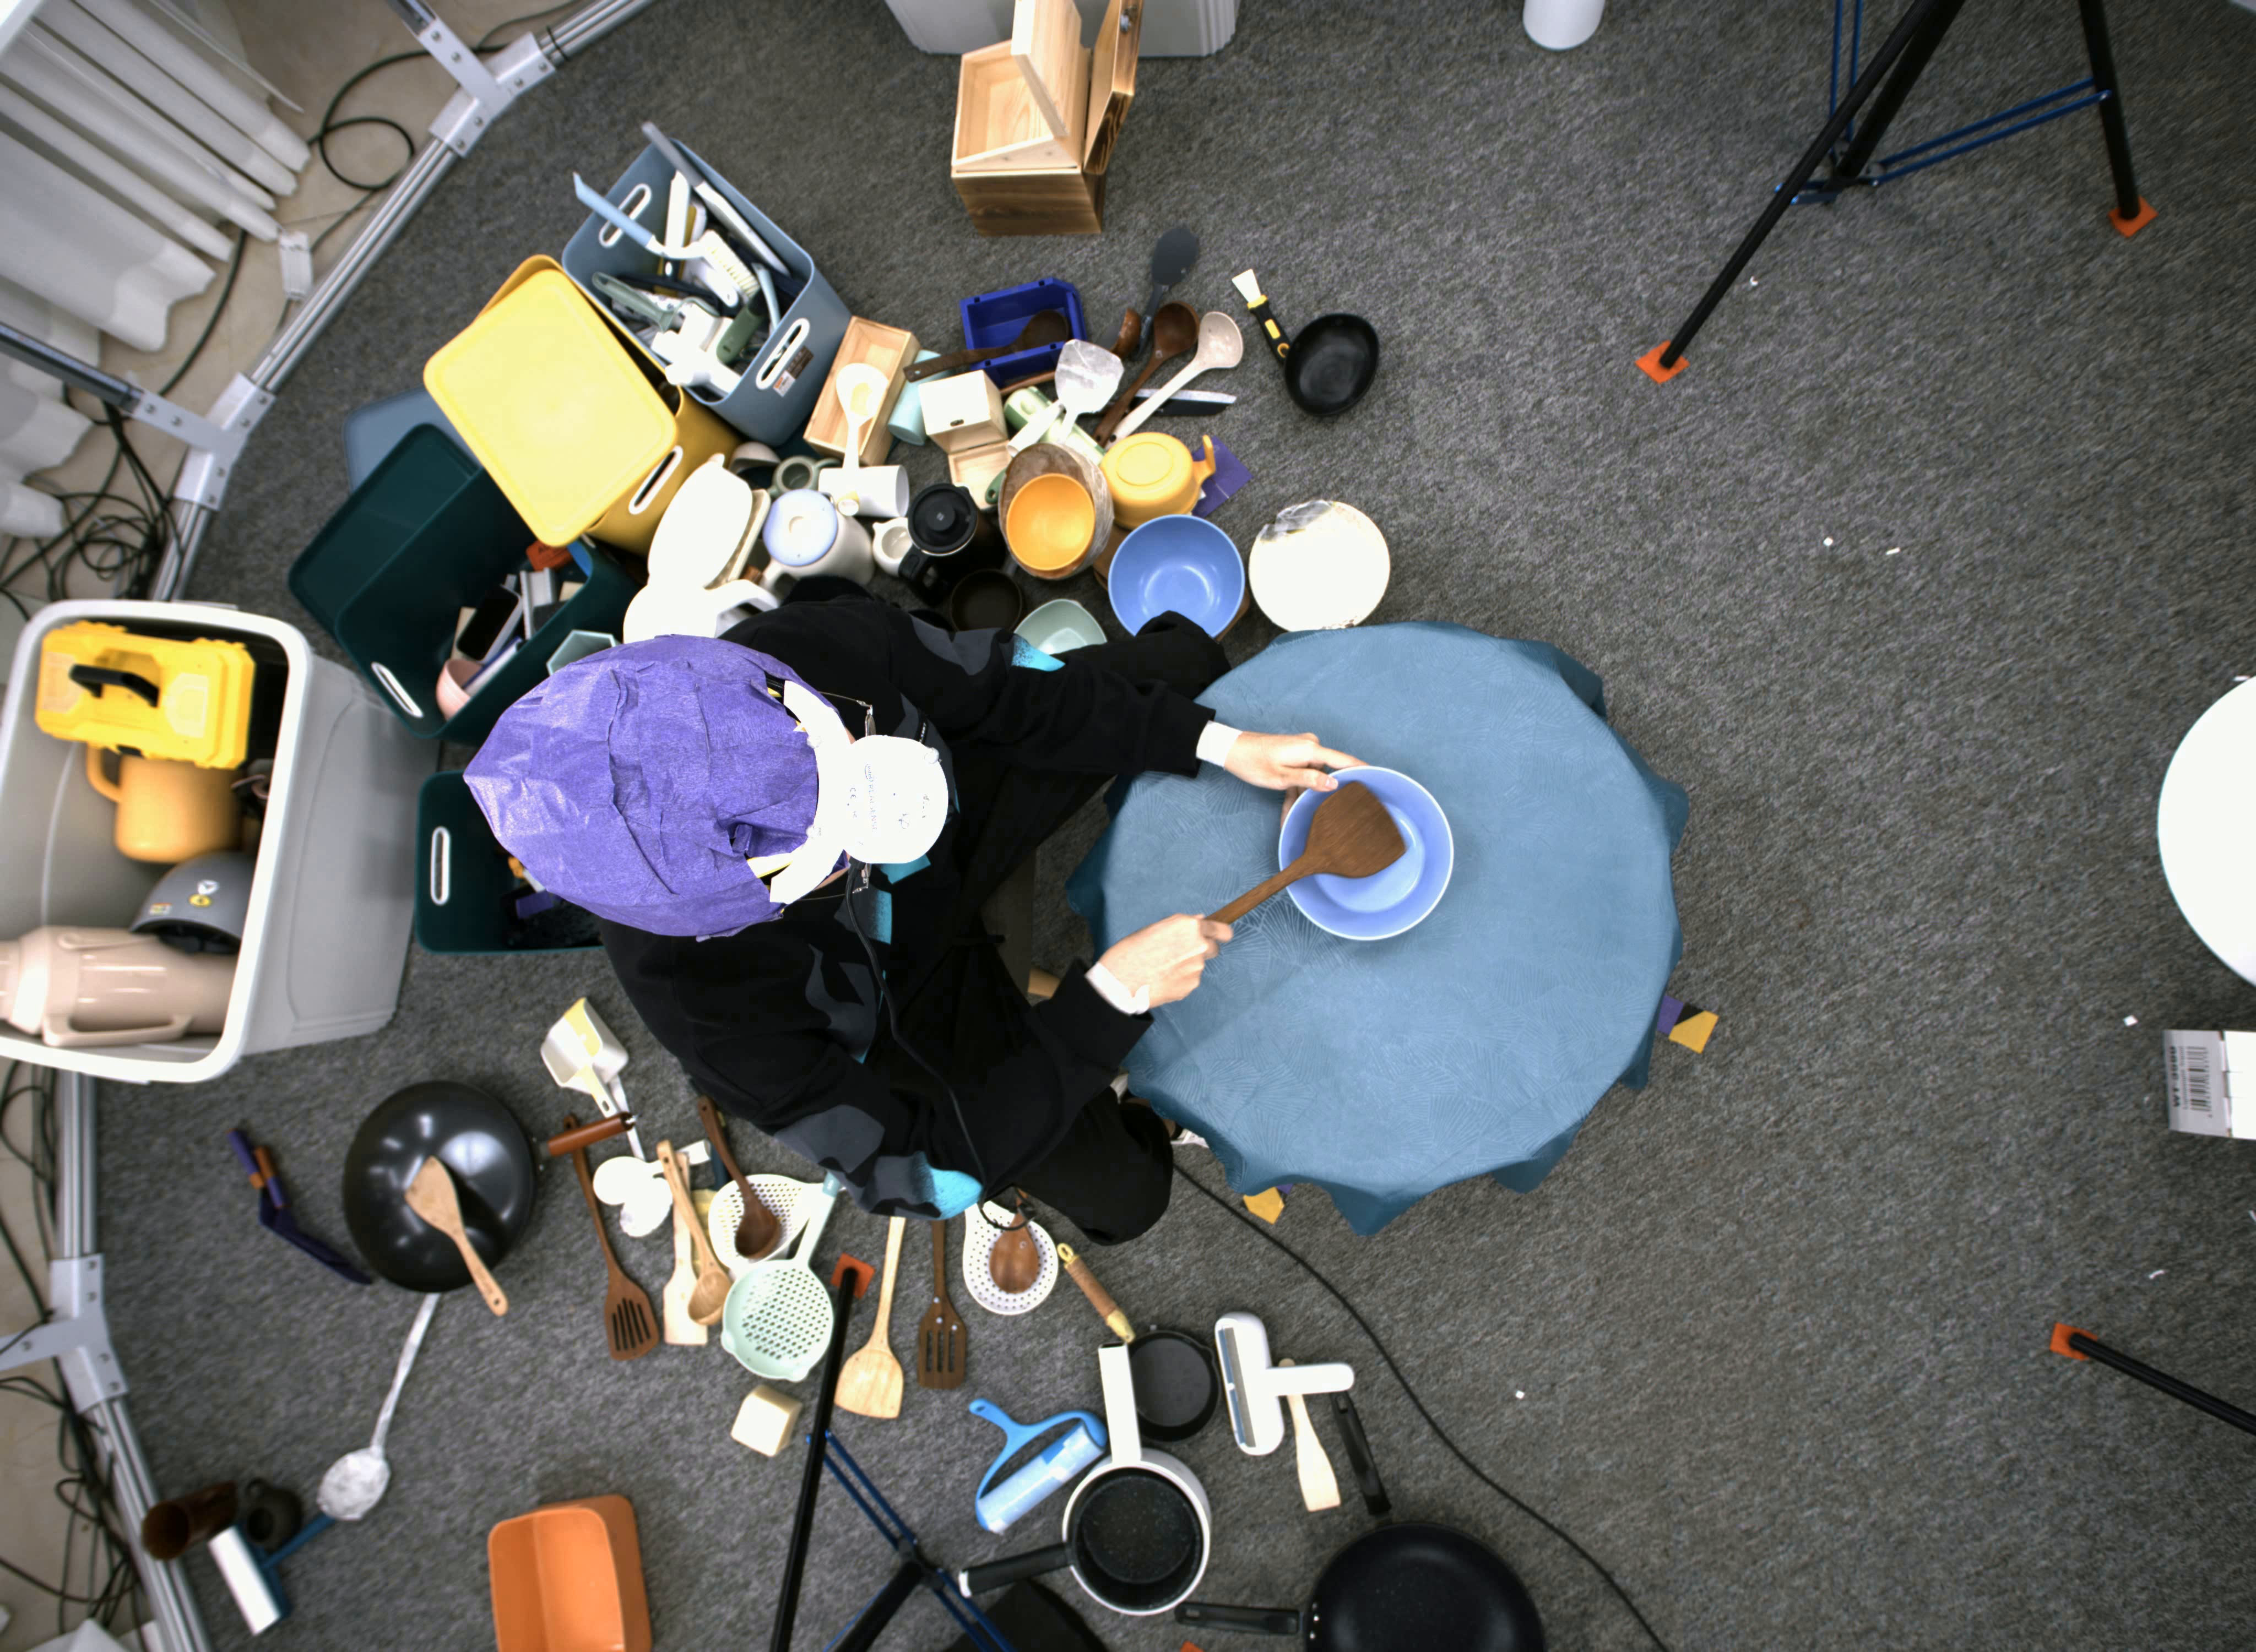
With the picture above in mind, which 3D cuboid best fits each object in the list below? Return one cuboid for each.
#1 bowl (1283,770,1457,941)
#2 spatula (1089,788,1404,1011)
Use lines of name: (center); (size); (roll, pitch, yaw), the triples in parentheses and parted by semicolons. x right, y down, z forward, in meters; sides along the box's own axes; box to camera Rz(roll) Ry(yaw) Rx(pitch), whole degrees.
bowl: (0.251, 0.032, 1.431); (0.177, 0.070, 0.175); (-1, 86, 14)
spatula: (0.117, 0.077, 1.352); (0.380, 0.016, 0.095); (-30, 82, -25)
